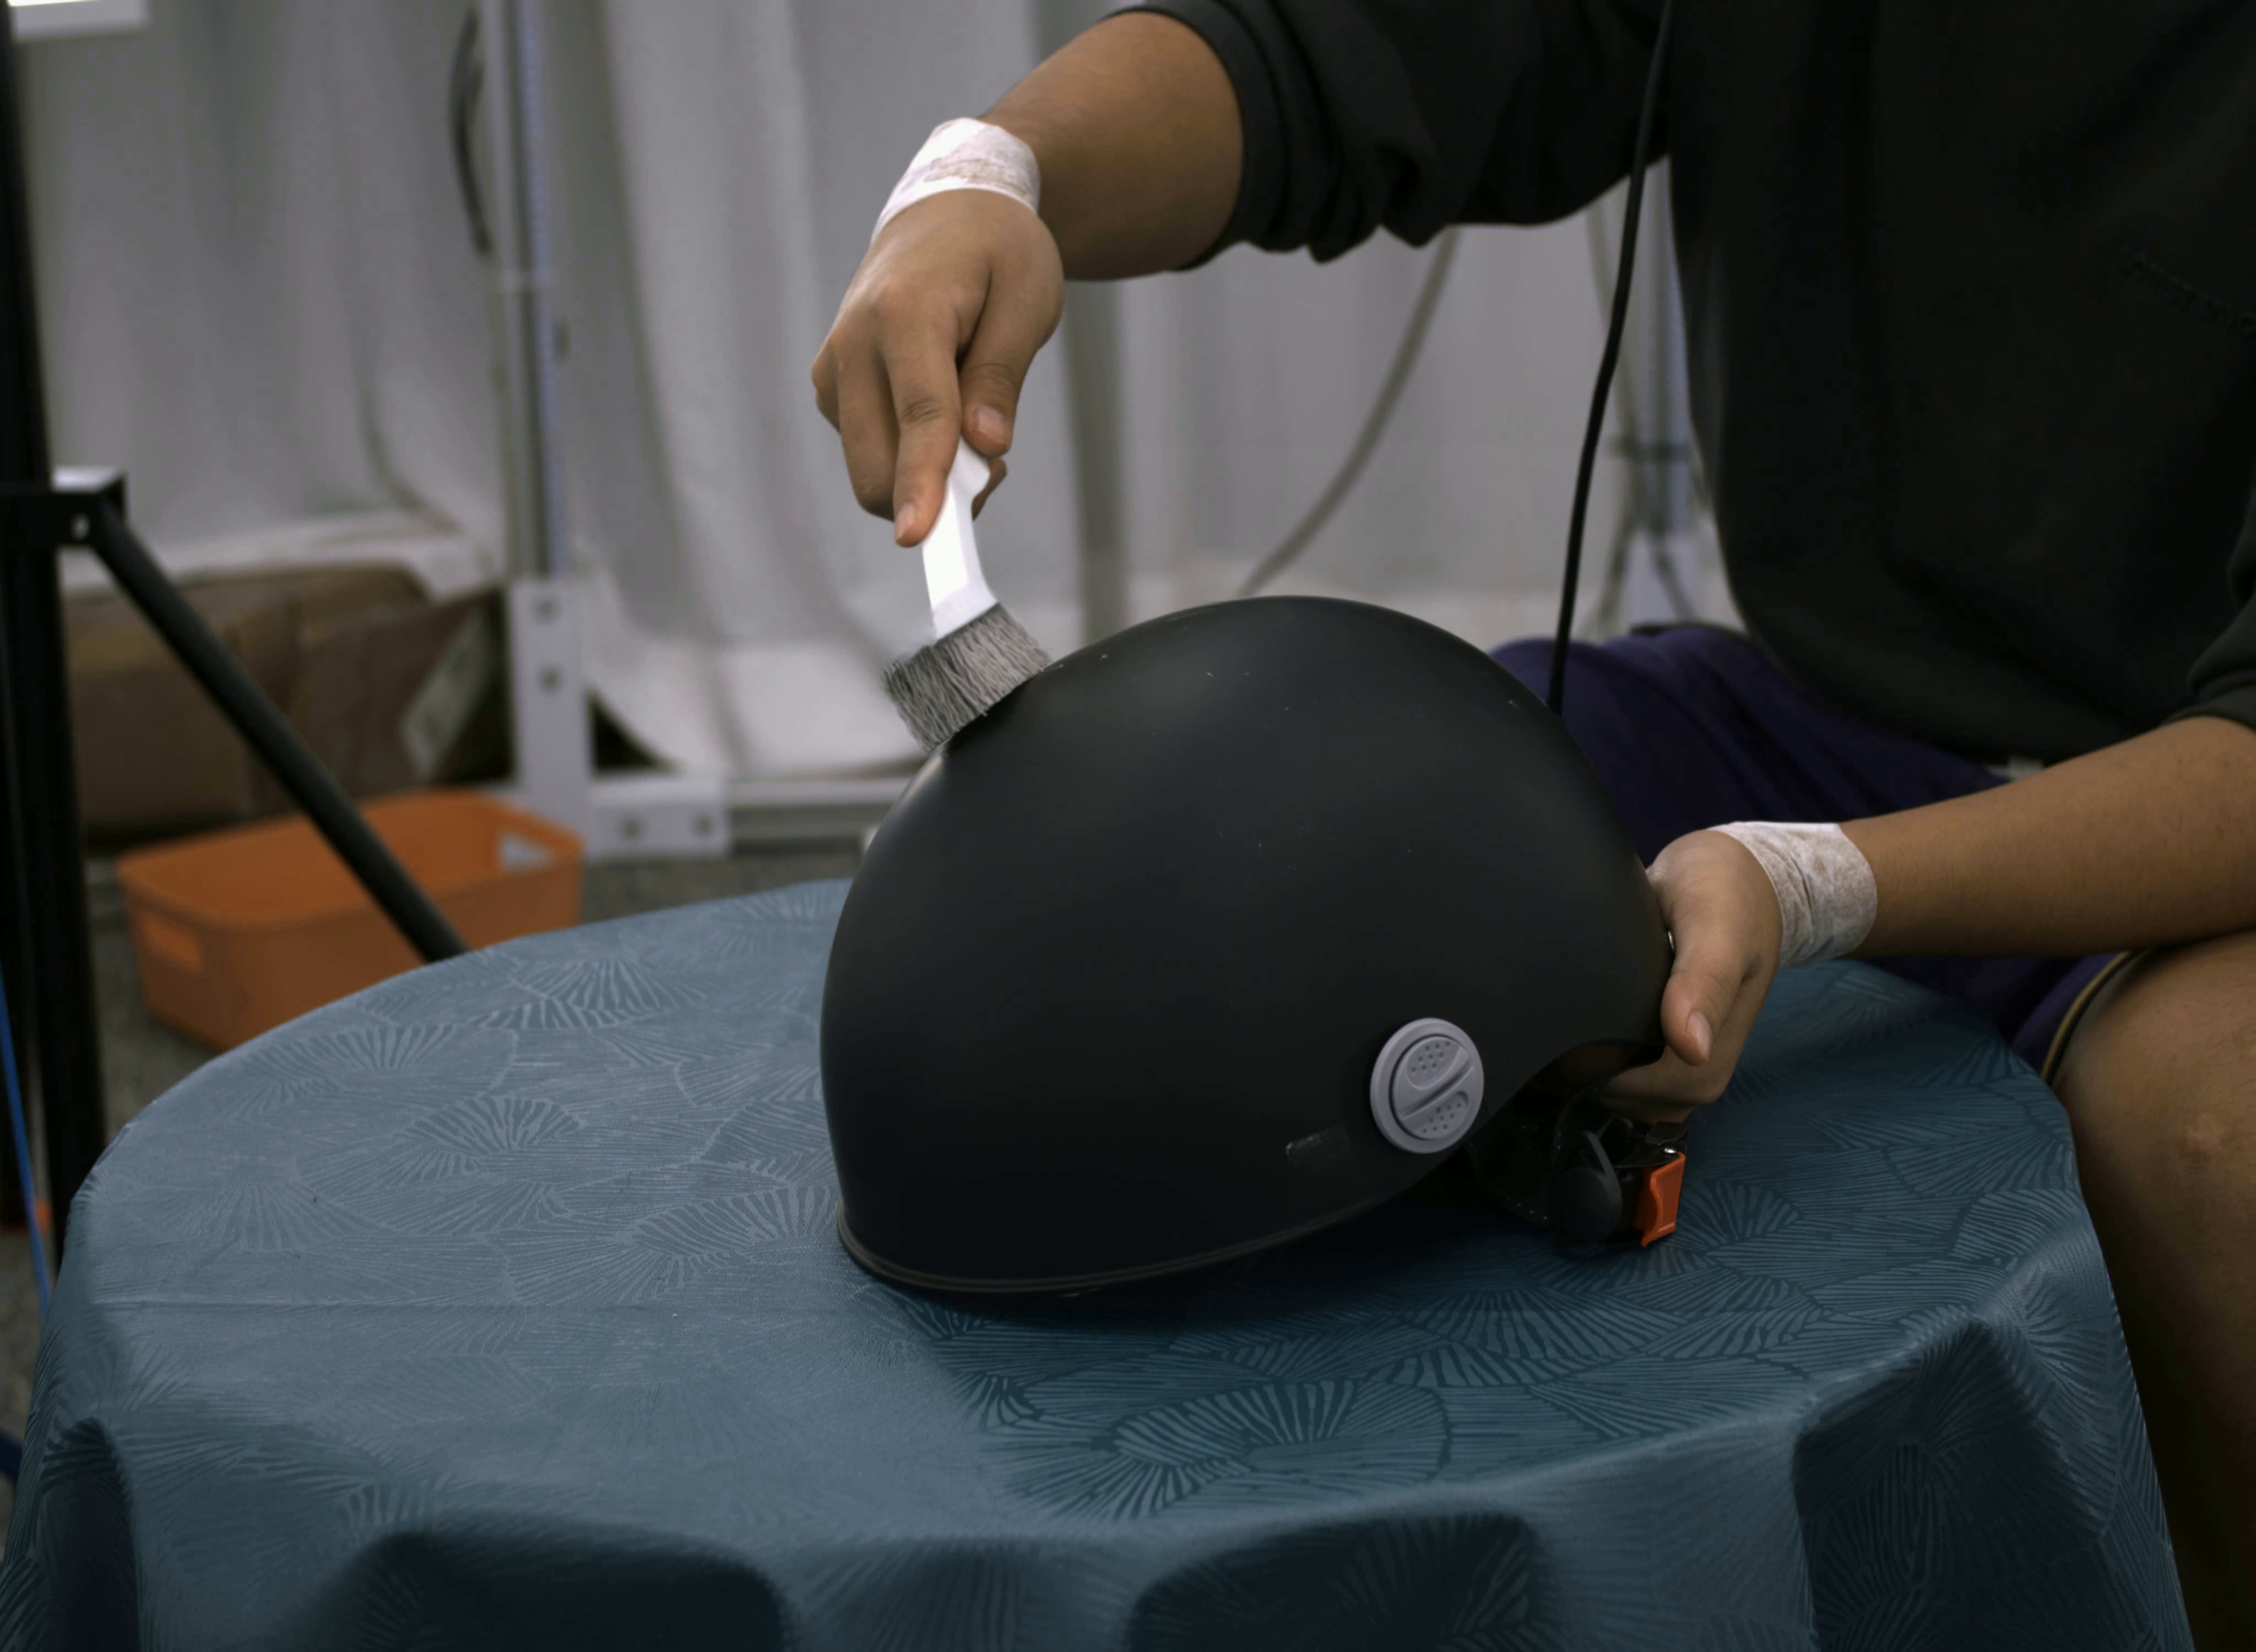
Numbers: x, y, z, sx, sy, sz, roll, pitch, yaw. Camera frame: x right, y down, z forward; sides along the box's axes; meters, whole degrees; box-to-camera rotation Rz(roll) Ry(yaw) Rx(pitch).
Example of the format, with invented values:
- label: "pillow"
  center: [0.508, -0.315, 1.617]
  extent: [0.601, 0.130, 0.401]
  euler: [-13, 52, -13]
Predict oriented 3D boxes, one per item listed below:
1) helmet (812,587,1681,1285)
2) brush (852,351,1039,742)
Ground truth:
- label: "helmet"
  center: [0.026, 0.021, 1.547]
  extent: [0.267, 0.166, 0.235]
  euler: [-21, 16, -38]
- label: "brush"
  center: [-0.049, -0.086, 1.626]
  extent: [0.034, 0.049, 0.244]
  euler: [-38, 17, 17]
